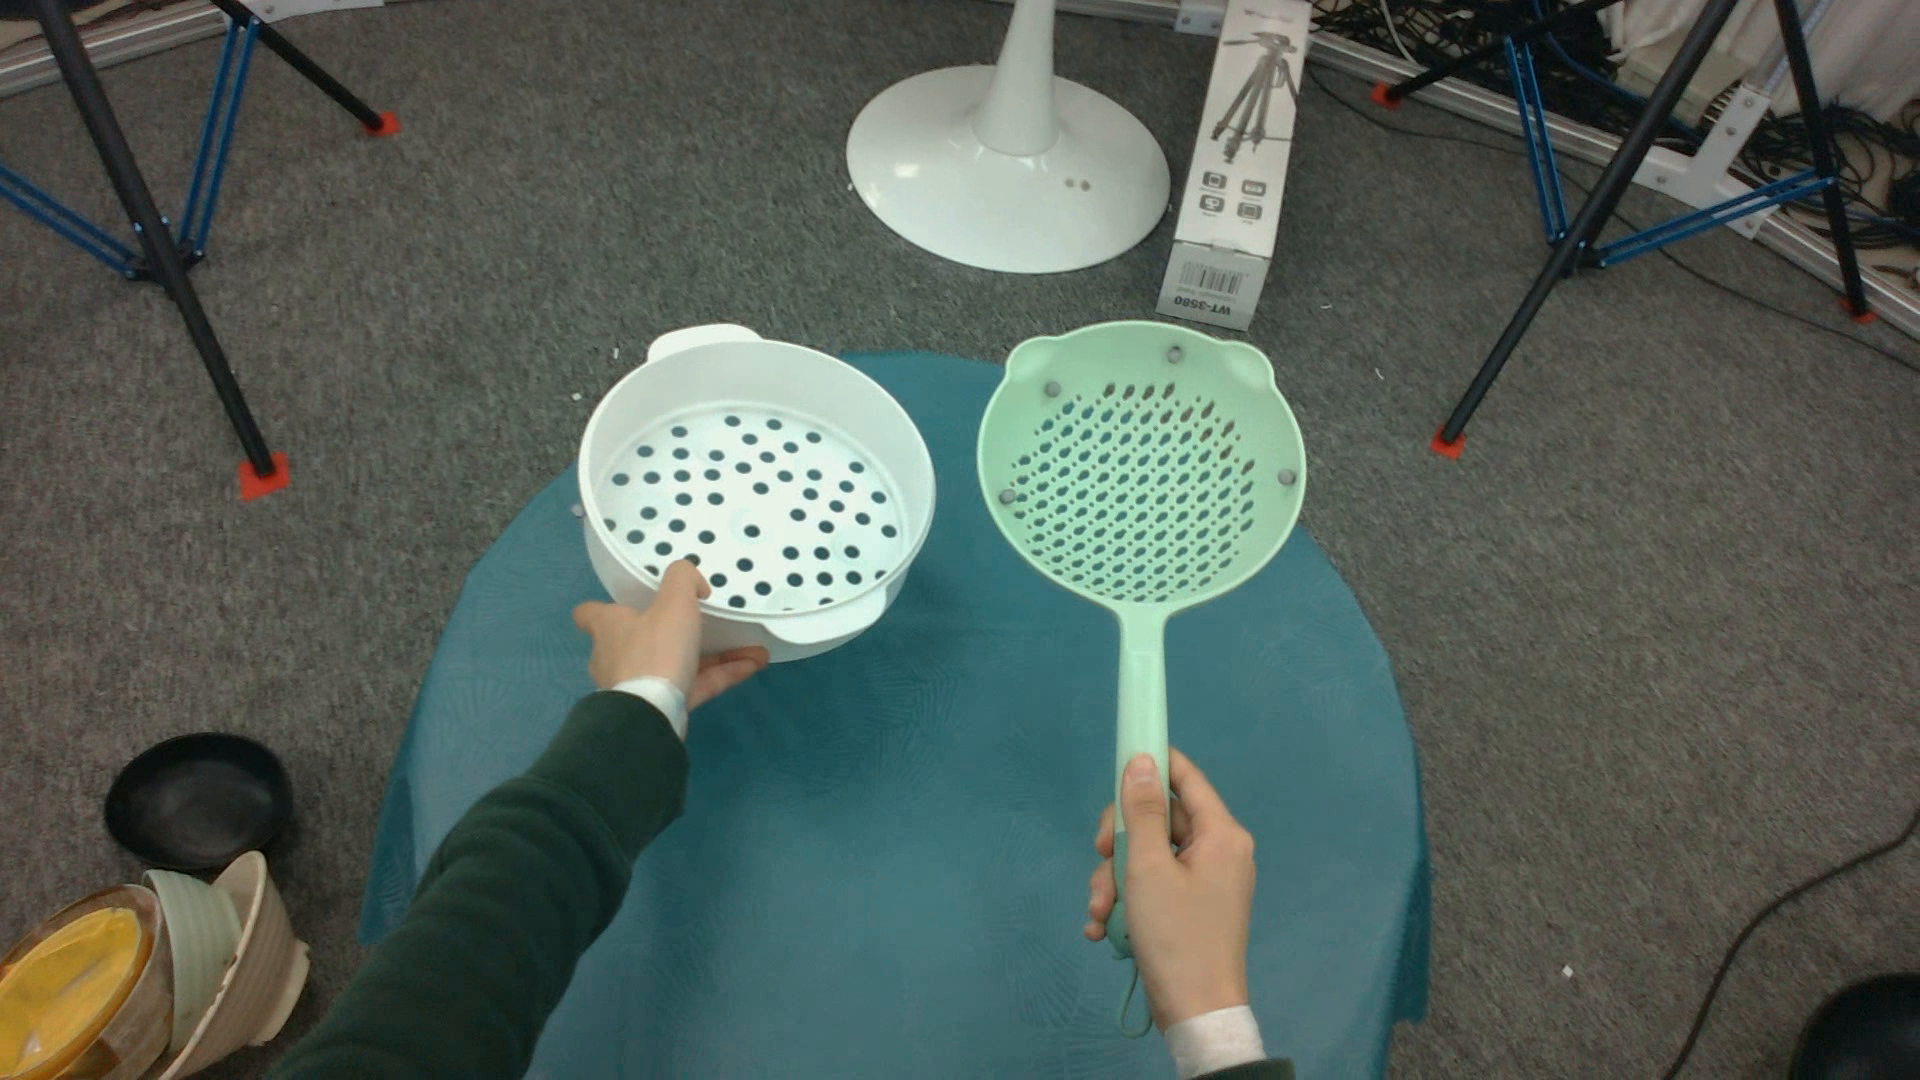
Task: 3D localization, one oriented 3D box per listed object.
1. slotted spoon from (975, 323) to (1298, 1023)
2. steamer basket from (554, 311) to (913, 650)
[{"bbox_3d":[0.085,0.046,0.681,0.169,0.075,0.360,4,54,1],"label":"slotted spoon"},{"bbox_3d":[-0.132,-0.030,0.805,0.202,0.069,0.231,-17,61,-25],"label":"steamer basket"}]
